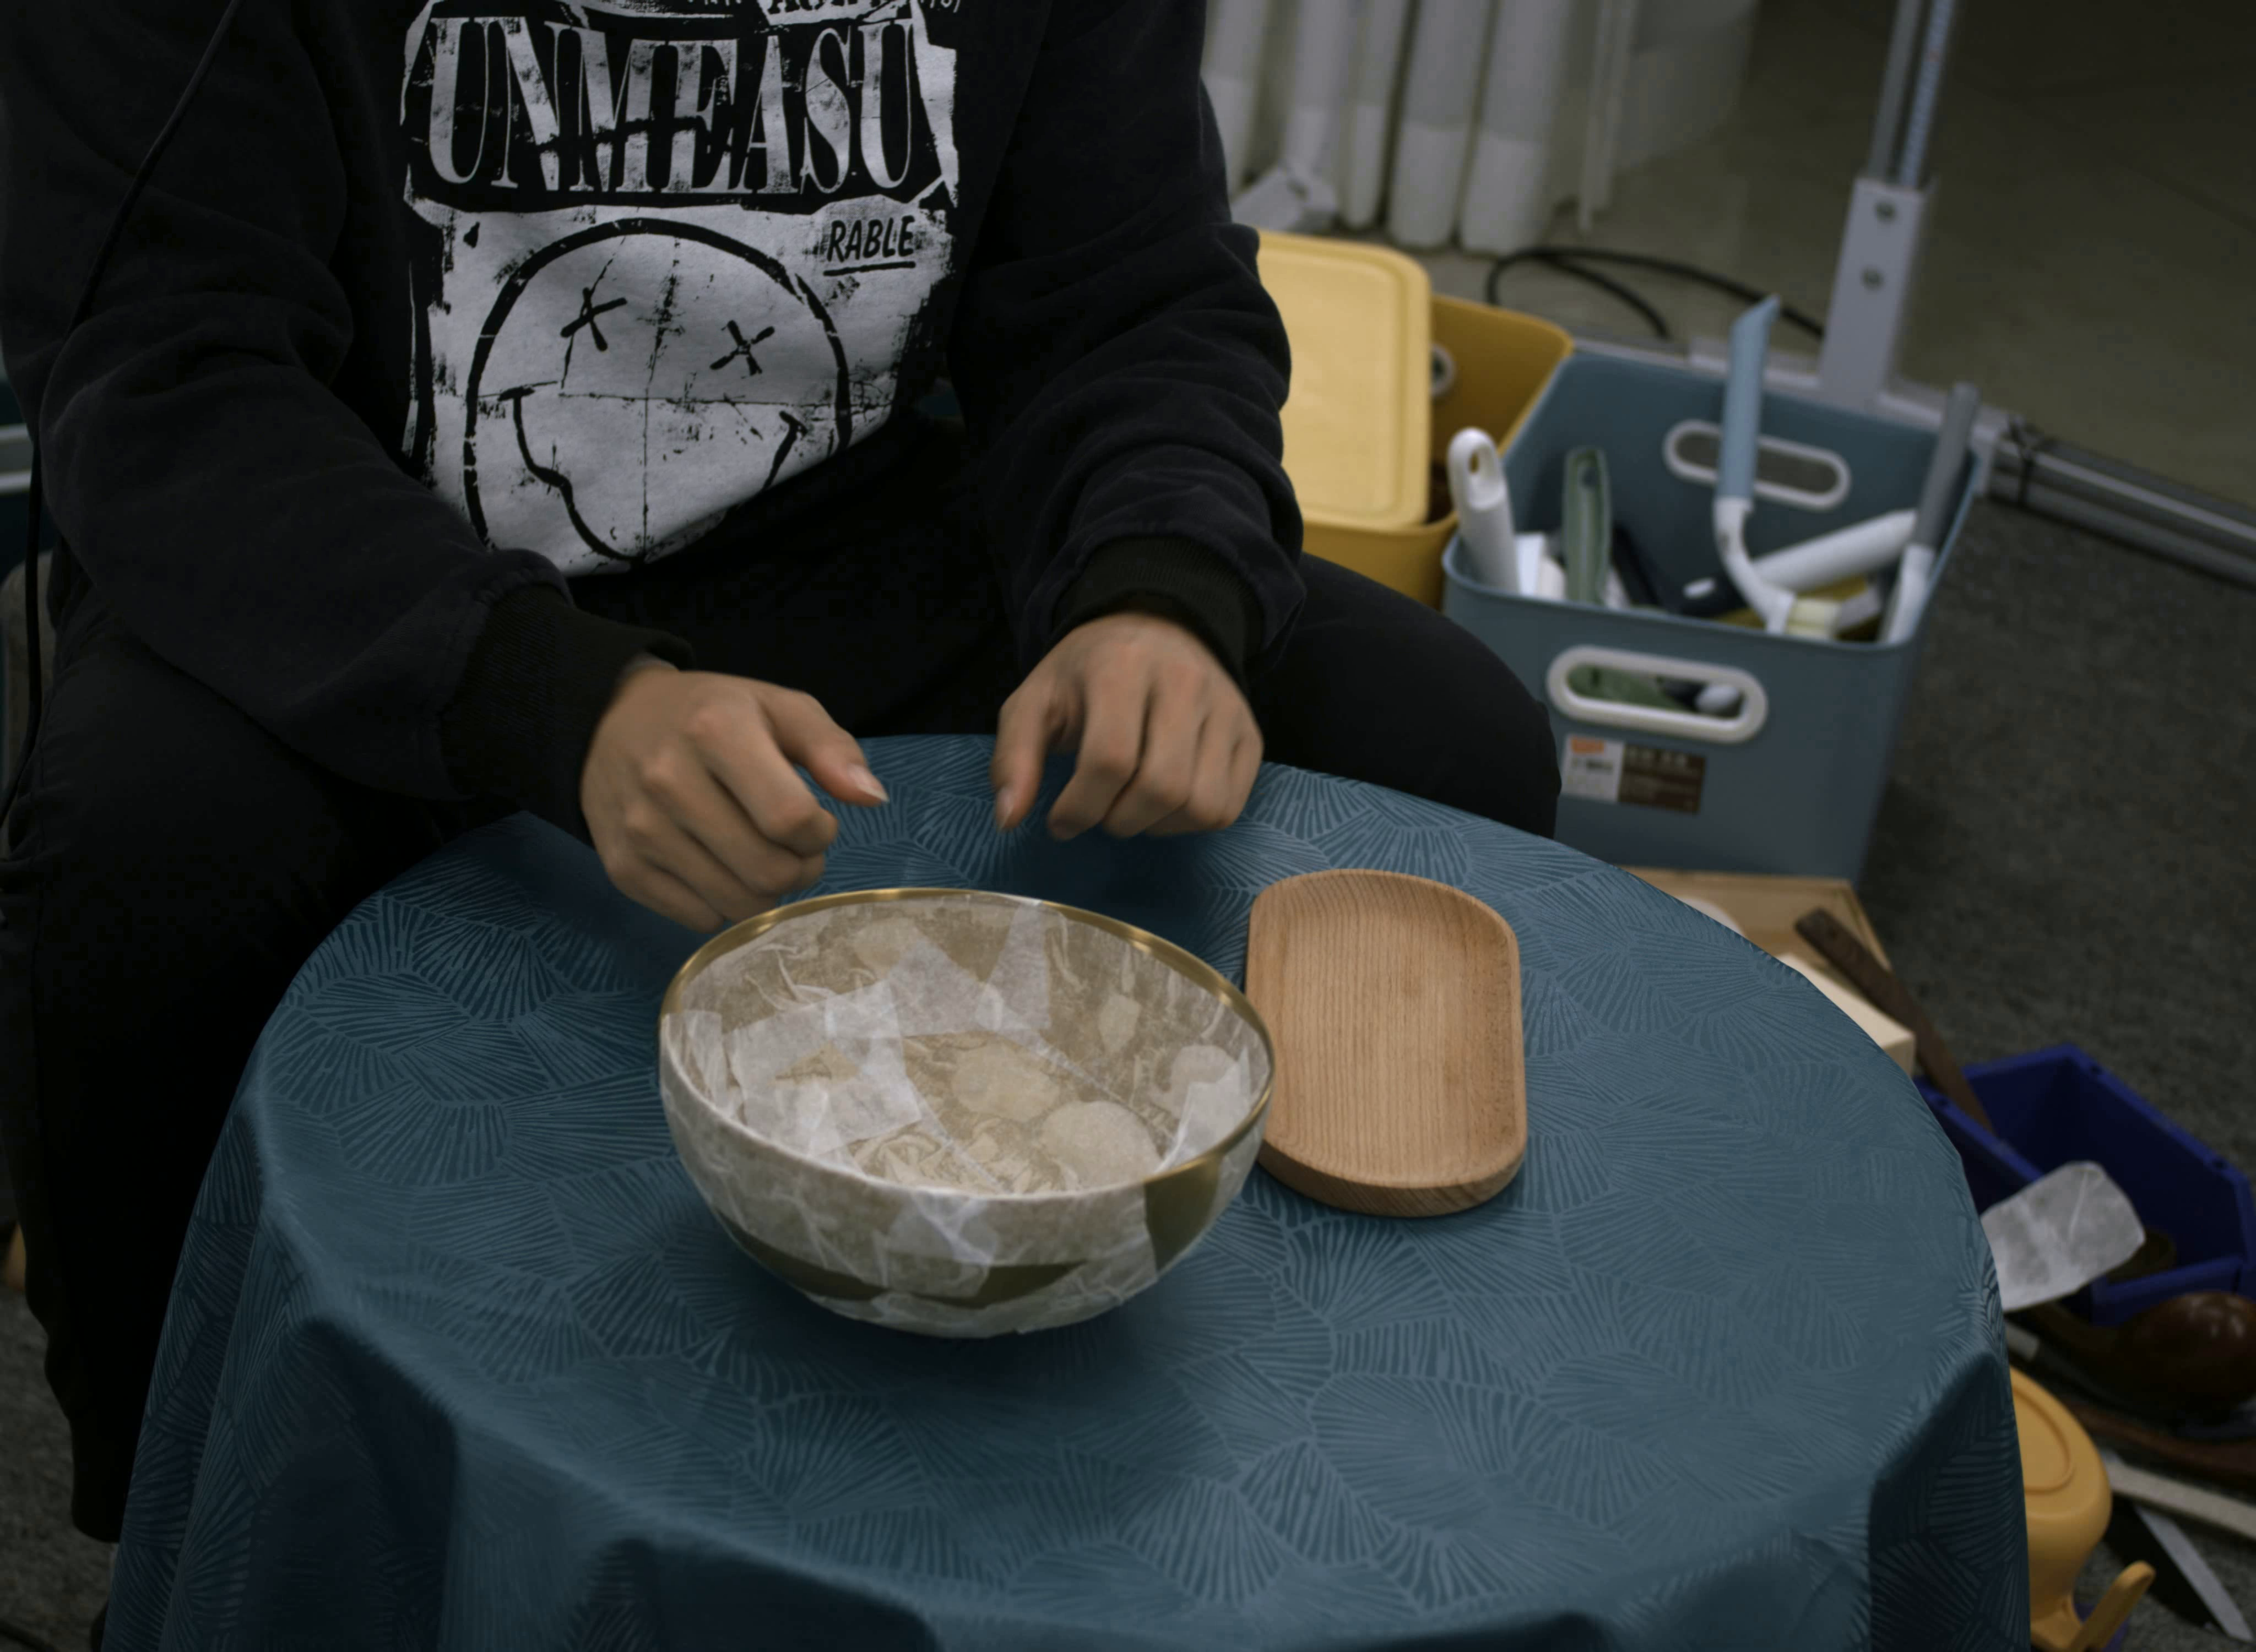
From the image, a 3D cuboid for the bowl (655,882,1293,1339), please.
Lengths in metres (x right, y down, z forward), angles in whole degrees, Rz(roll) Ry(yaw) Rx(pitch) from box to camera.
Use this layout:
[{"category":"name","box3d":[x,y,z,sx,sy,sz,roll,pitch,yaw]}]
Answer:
[{"category":"bowl","box3d":[-0.052,0.103,1.724,0.214,0.094,0.216,4,27,-2]}]

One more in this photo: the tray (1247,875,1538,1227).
[{"category":"tray","box3d":[0.093,0.078,1.895,0.101,0.020,0.232,4,28,0]}]
